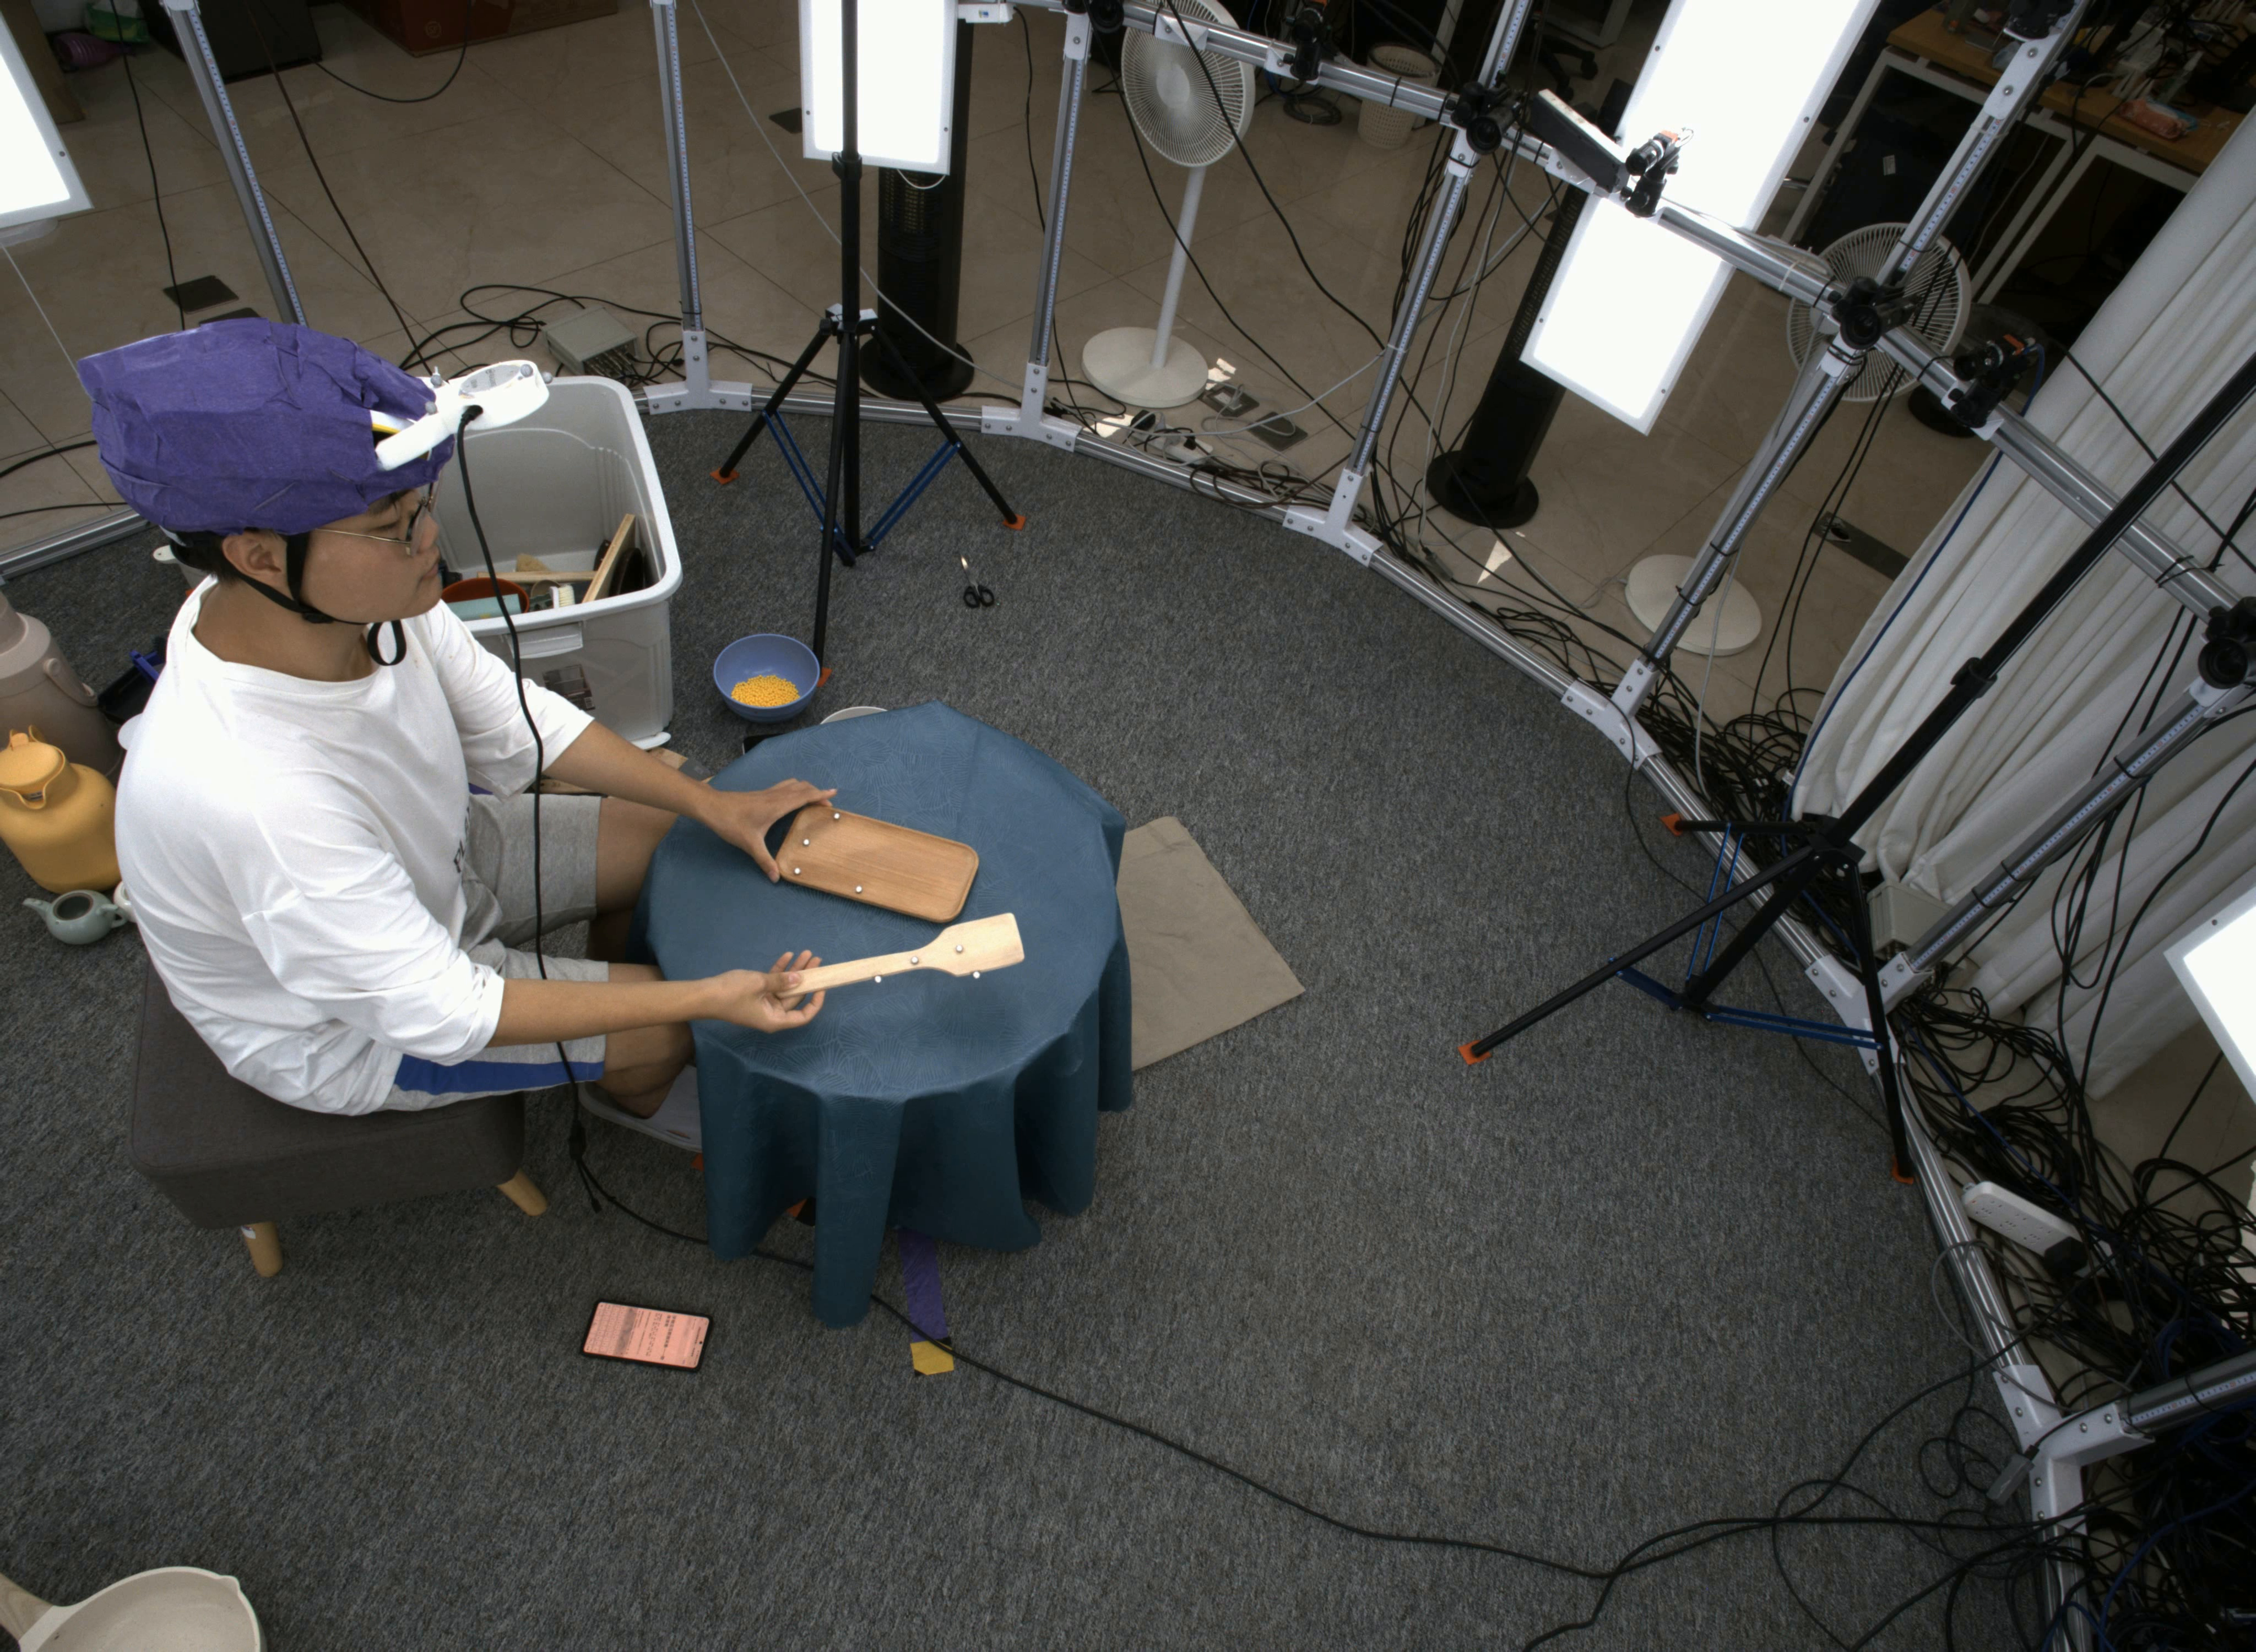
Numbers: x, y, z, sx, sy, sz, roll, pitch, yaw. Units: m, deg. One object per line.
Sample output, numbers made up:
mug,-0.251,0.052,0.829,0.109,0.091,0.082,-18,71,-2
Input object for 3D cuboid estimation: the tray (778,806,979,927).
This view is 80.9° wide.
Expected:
tray,-0.327,0.051,1.710,0.248,0.023,0.129,18,54,-1

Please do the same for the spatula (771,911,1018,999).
spatula,-0.276,0.160,1.537,0.292,0.011,0.070,-12,59,-13
